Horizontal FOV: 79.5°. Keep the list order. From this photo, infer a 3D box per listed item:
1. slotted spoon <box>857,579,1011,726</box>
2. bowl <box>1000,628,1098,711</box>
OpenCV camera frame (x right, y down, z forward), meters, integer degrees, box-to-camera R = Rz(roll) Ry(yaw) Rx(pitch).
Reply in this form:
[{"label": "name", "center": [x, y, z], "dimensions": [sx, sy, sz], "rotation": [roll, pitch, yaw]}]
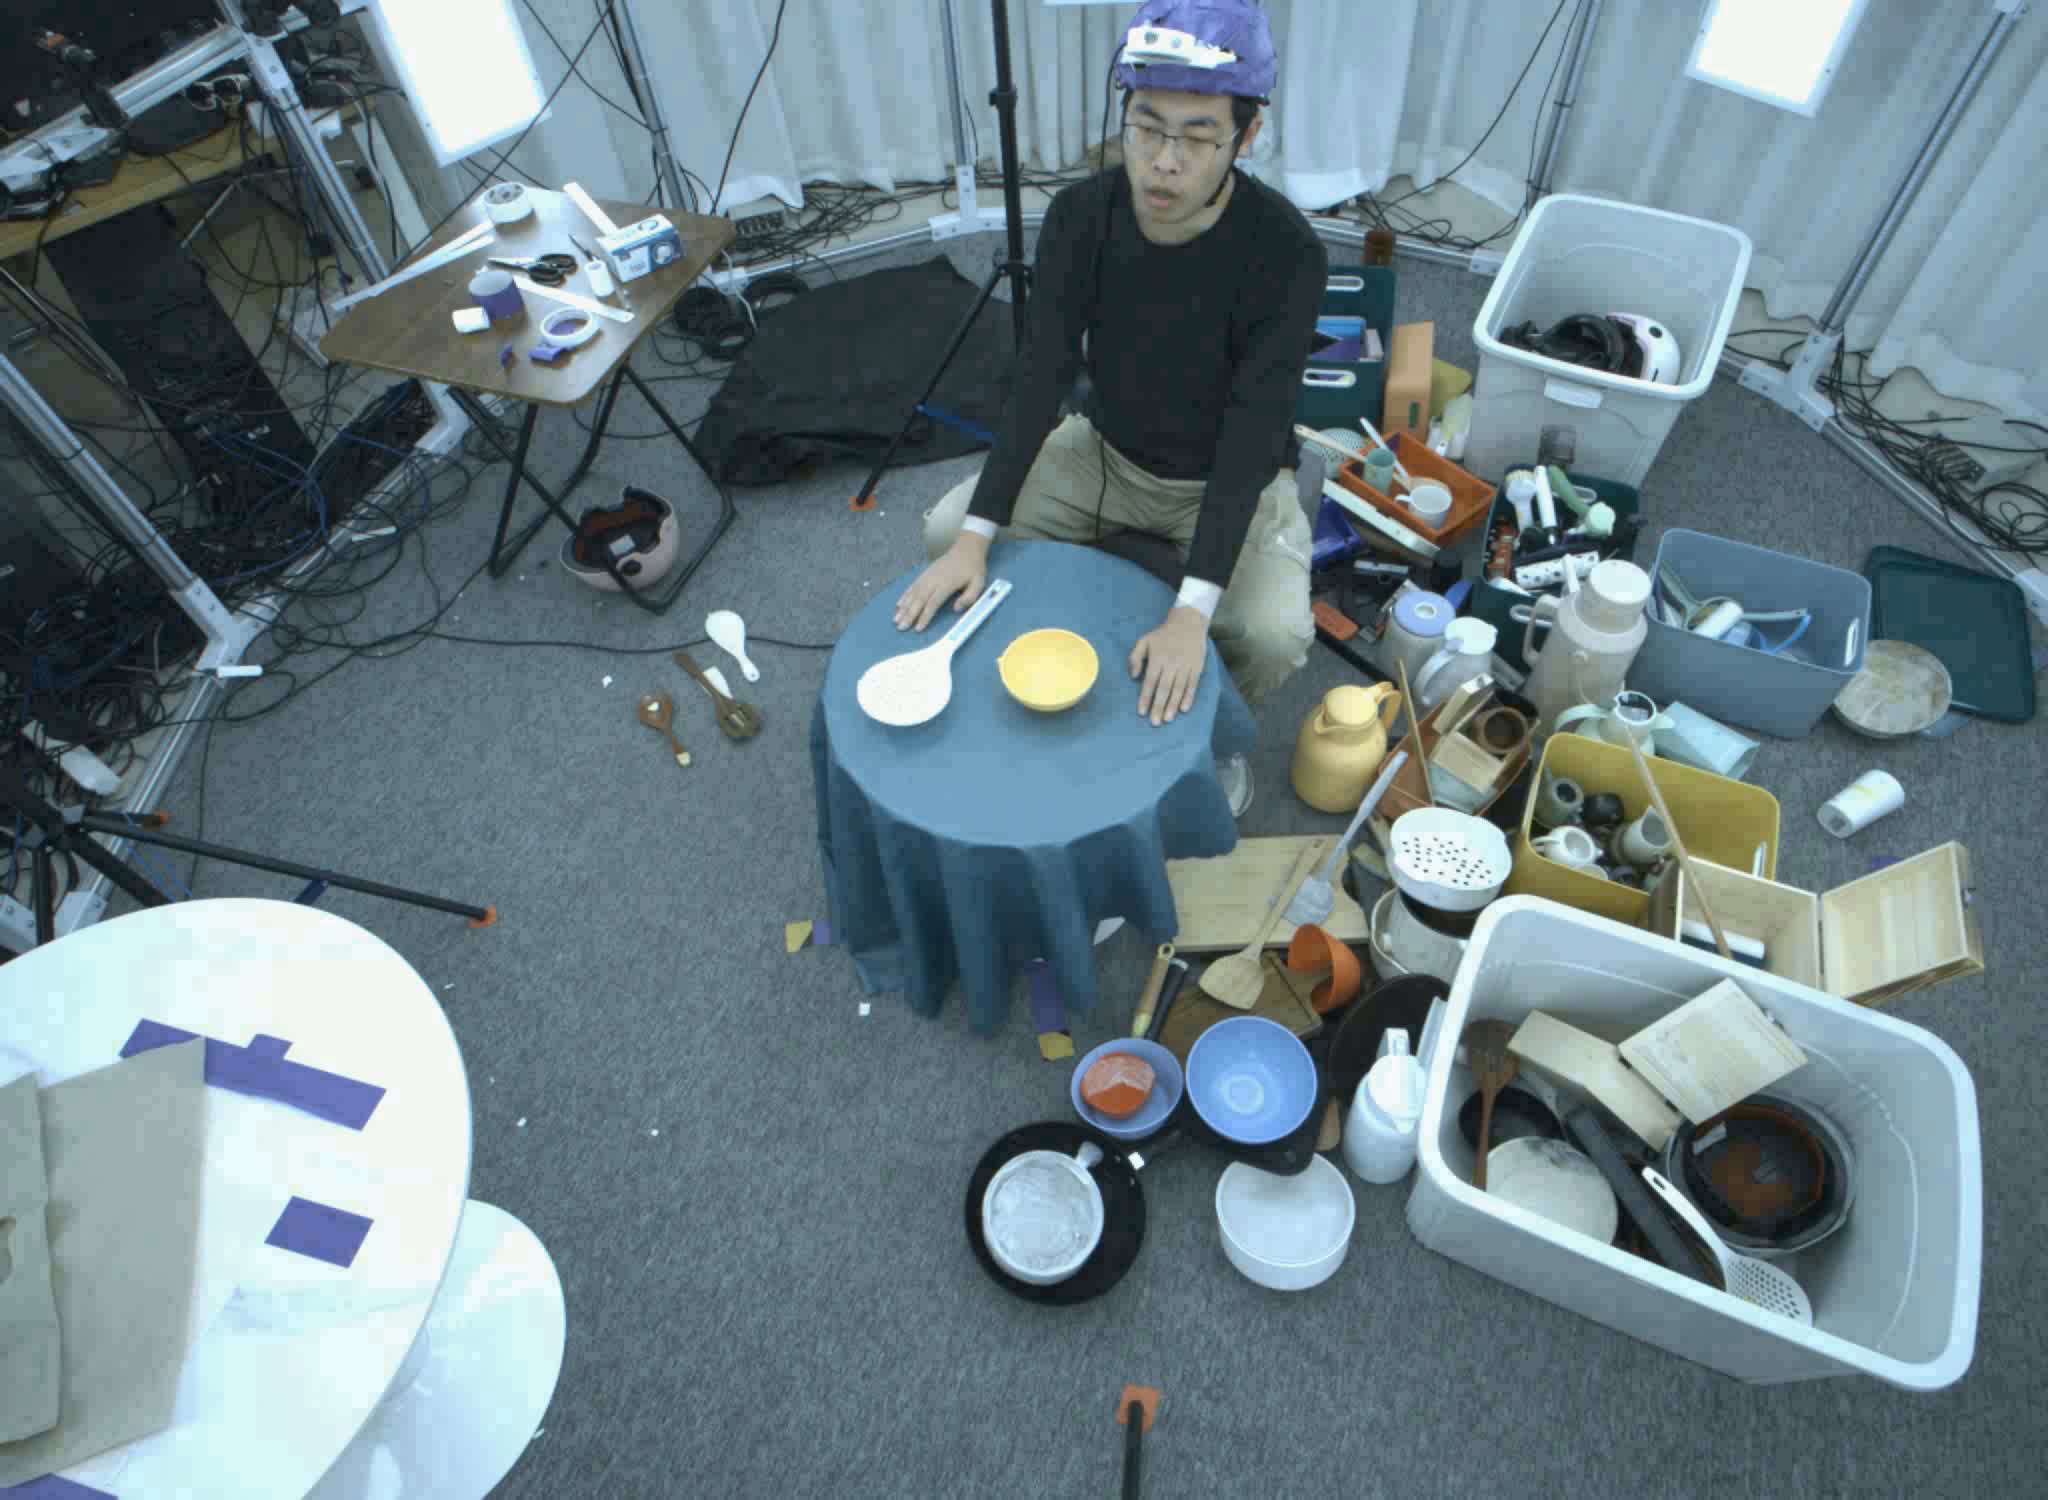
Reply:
[{"label": "slotted spoon", "center": [-0.122, -0.154, 1.873], "dimensions": [0.134, 0.046, 0.351], "rotation": [25, 58, 18]}, {"label": "bowl", "center": [0.037, -0.108, 1.828], "dimensions": [0.145, 0.061, 0.144], "rotation": [0, 56, 1]}]
